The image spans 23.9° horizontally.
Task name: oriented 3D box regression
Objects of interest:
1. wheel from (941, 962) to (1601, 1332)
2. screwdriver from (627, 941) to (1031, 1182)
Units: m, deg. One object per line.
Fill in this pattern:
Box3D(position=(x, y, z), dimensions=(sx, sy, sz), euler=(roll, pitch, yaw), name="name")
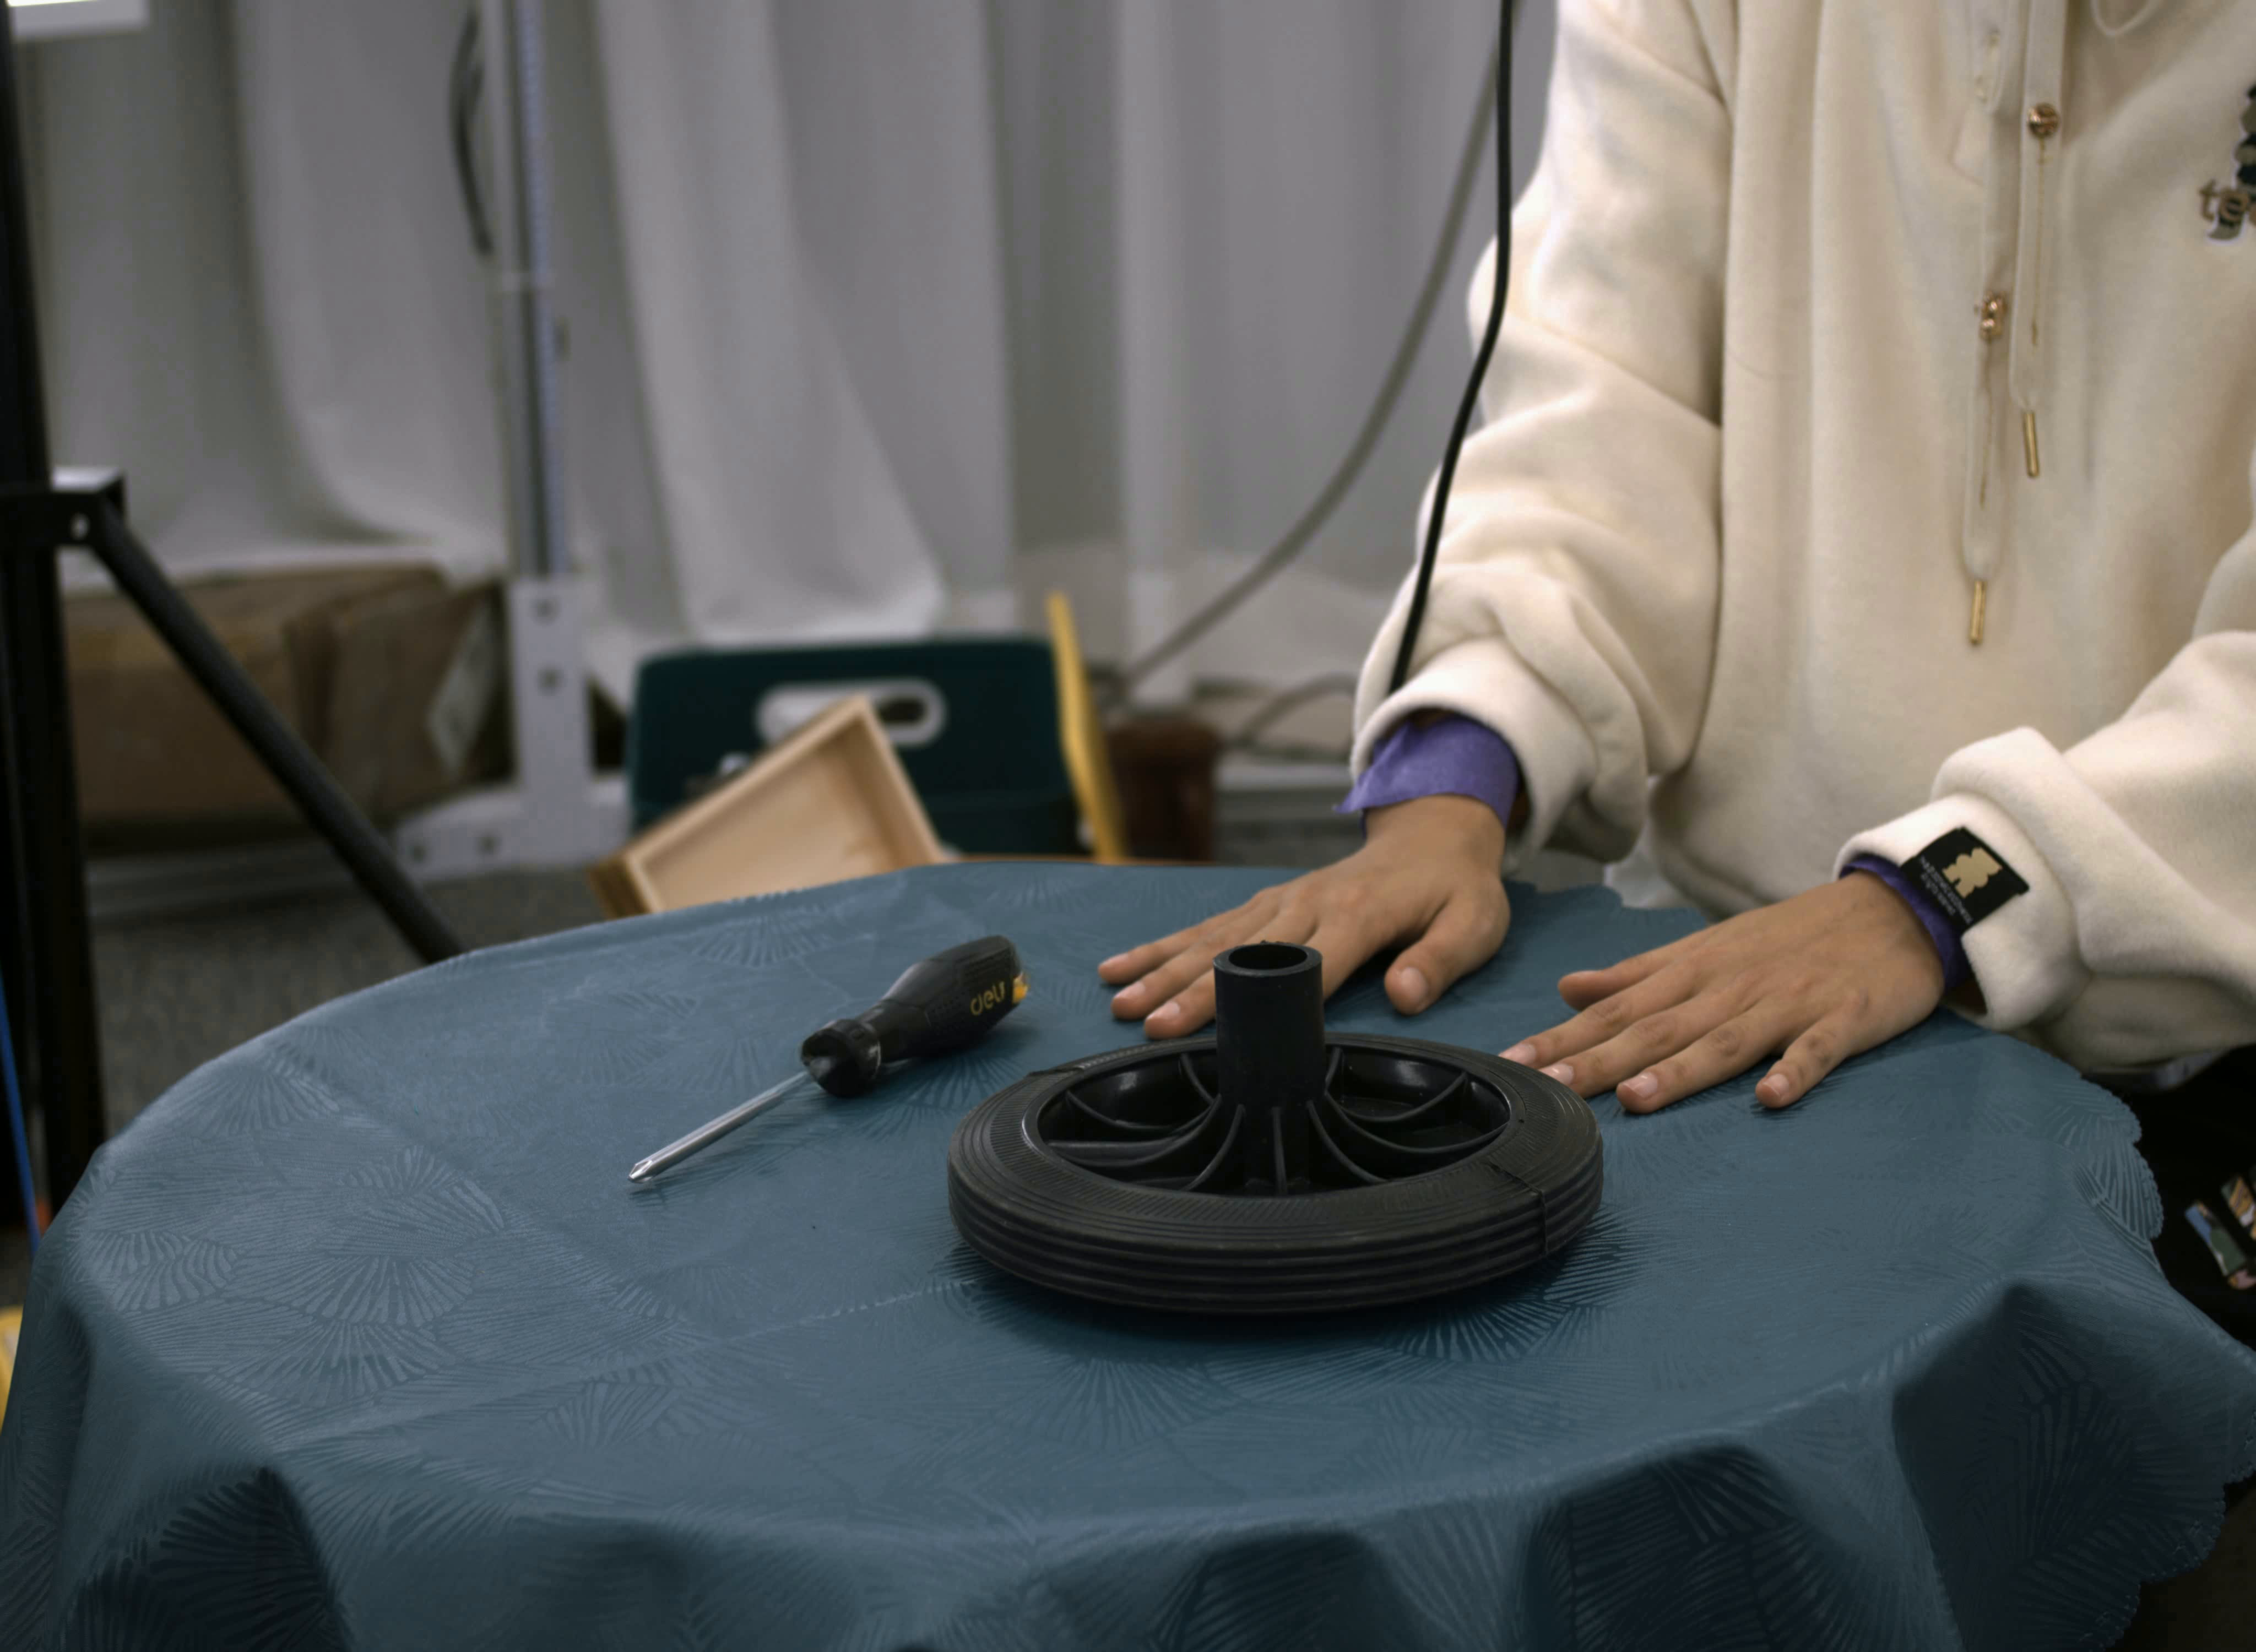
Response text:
Box3D(position=(0.039, 0.081, 1.510), dimensions=(0.187, 0.079, 0.190), euler=(-8, 17, -12), name="wheel")
Box3D(position=(-0.090, 0.075, 1.647), dimensions=(0.032, 0.031, 0.193), euler=(8, 21, 31), name="screwdriver")
